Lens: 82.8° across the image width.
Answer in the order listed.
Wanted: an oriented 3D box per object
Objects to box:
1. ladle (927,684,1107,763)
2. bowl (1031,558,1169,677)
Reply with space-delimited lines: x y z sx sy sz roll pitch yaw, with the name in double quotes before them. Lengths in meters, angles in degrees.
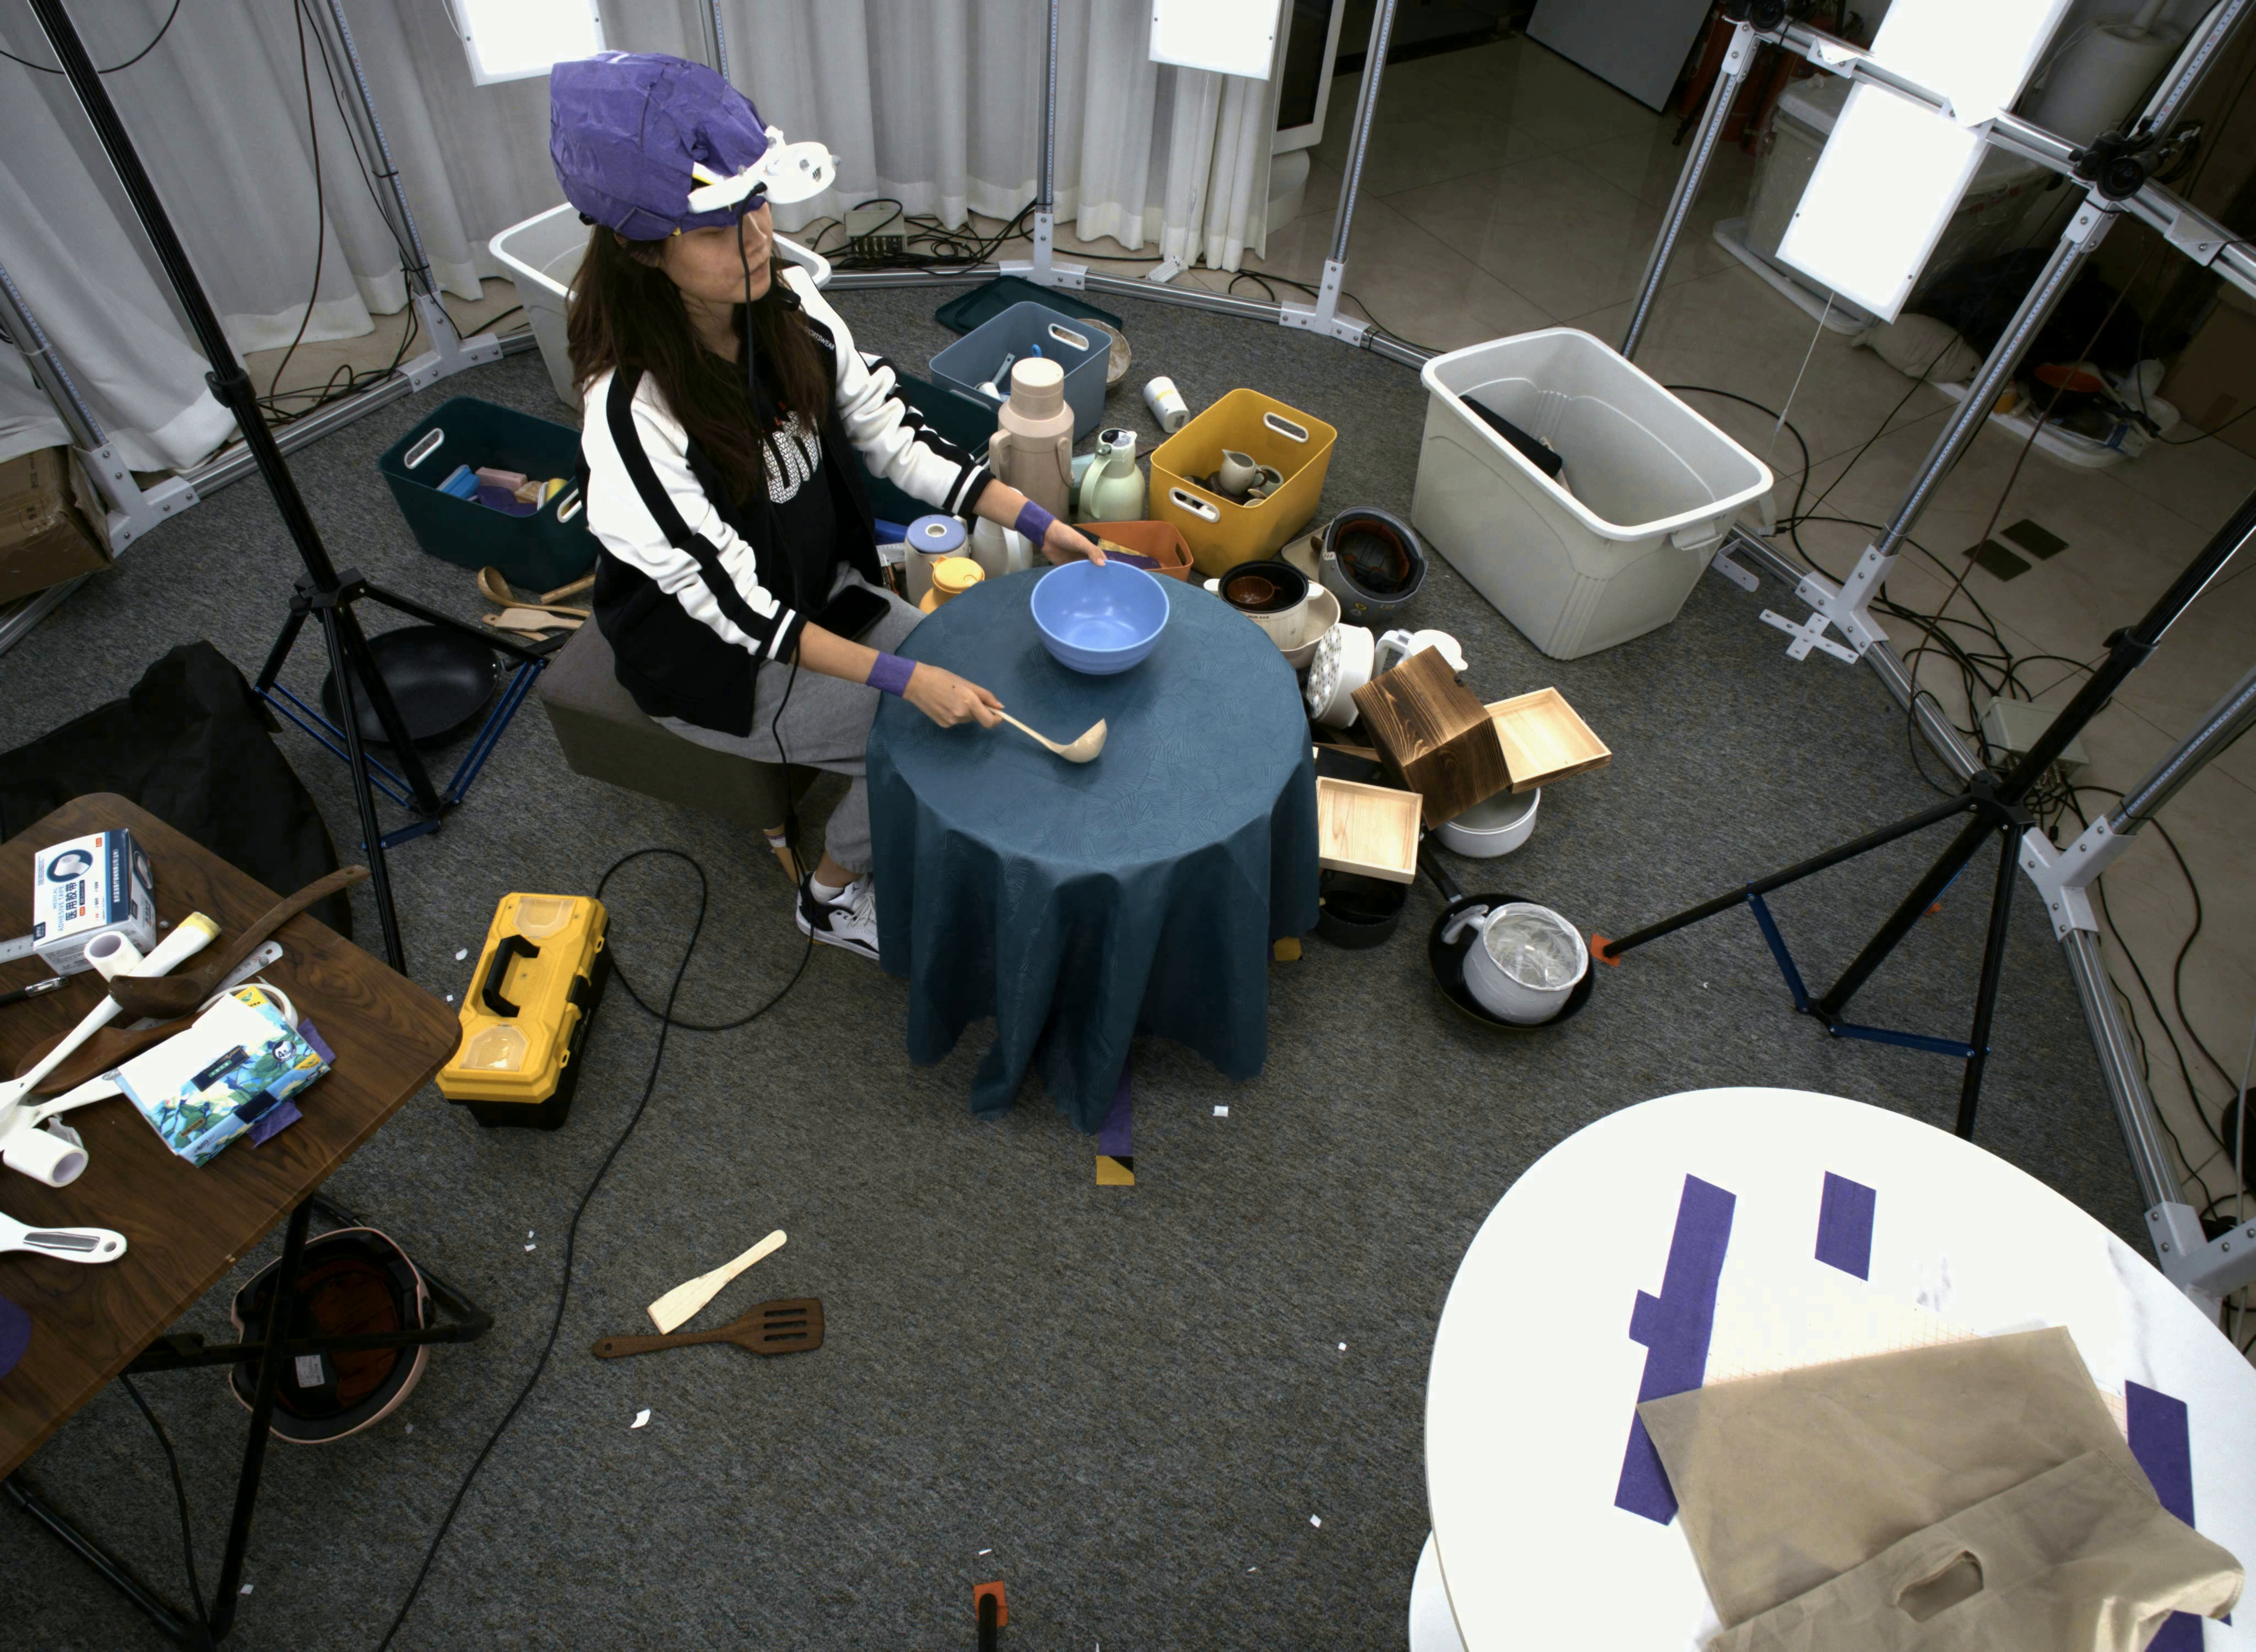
"ladle" -0.148 -0.164 1.734 0.255 0.071 0.073 27 26 6
"bowl" -0.042 -0.285 1.855 0.196 0.093 0.201 2 51 -3
